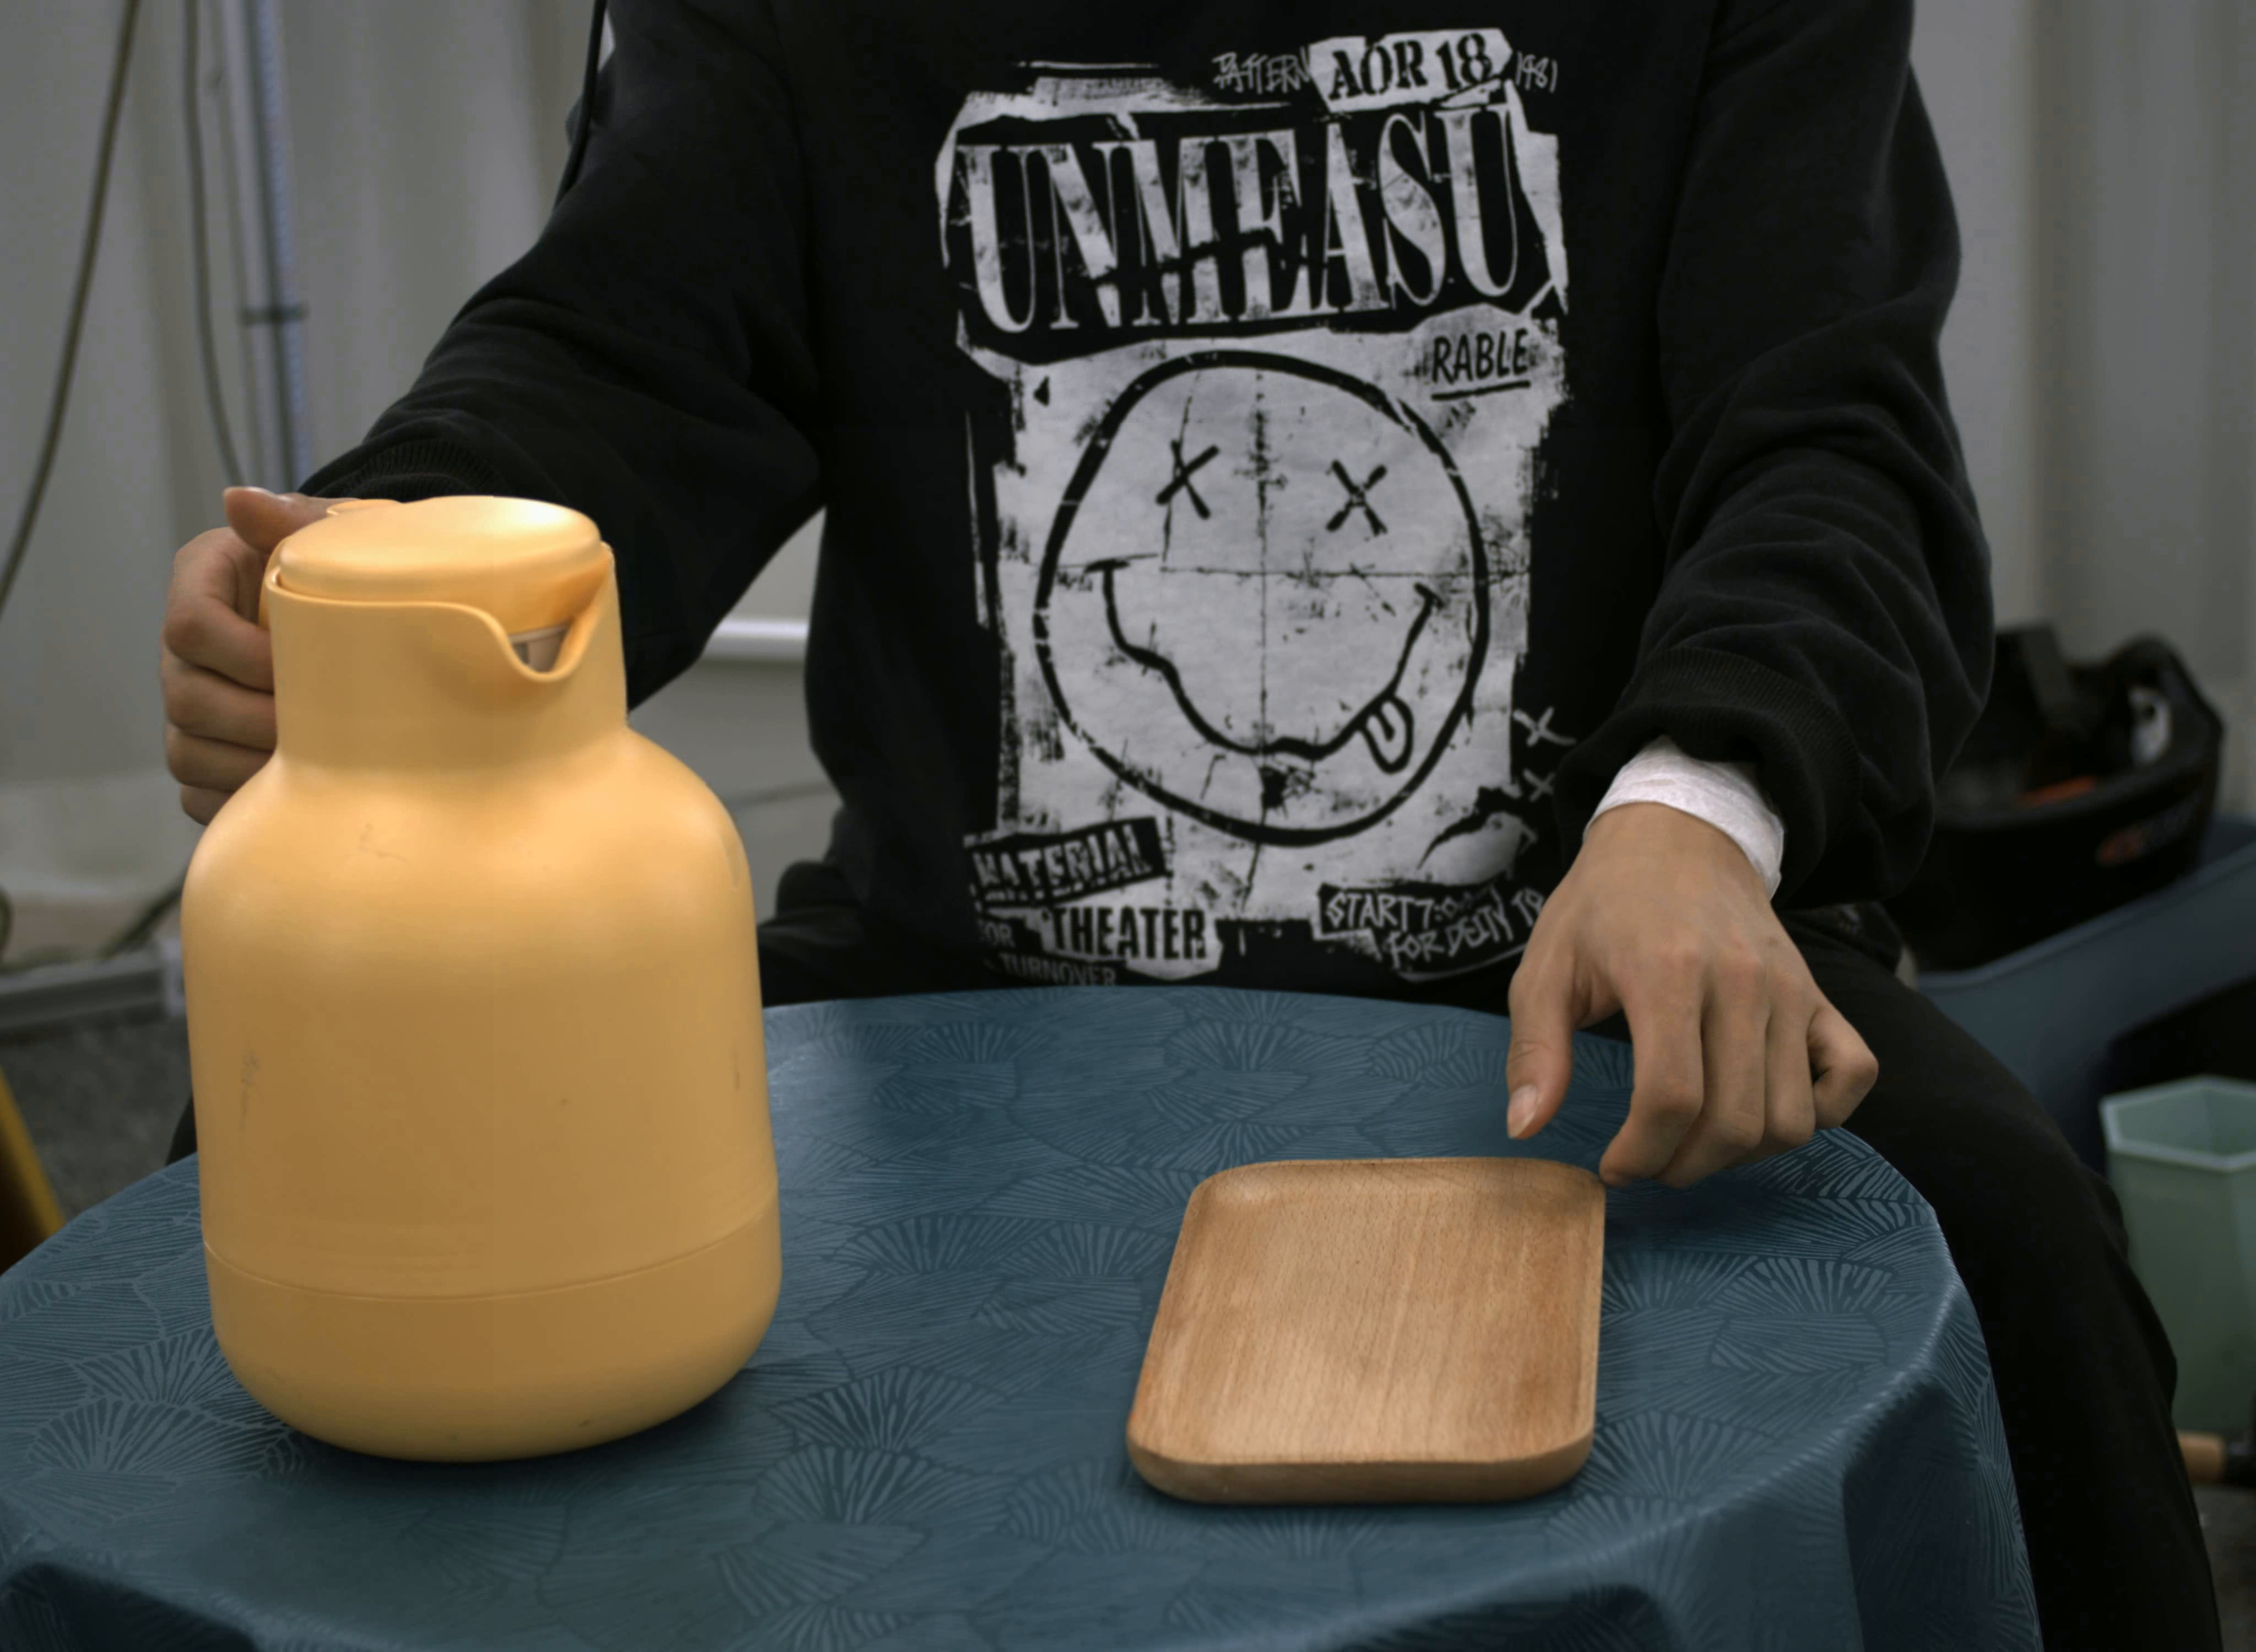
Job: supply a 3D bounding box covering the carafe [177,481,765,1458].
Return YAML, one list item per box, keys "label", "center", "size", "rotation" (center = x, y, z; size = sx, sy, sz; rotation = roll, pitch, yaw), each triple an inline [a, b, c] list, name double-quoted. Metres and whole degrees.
- label: "carafe"
  center: [-0.193, 0.032, 1.555]
  size: [0.162, 0.259, 0.204]
  rotation: [-7, 16, -26]

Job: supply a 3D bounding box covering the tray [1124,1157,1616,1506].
- label: "tray"
  center: [0.073, 0.142, 1.565]
  size: [0.130, 0.023, 0.252]
  rotation: [1, 15, 7]
